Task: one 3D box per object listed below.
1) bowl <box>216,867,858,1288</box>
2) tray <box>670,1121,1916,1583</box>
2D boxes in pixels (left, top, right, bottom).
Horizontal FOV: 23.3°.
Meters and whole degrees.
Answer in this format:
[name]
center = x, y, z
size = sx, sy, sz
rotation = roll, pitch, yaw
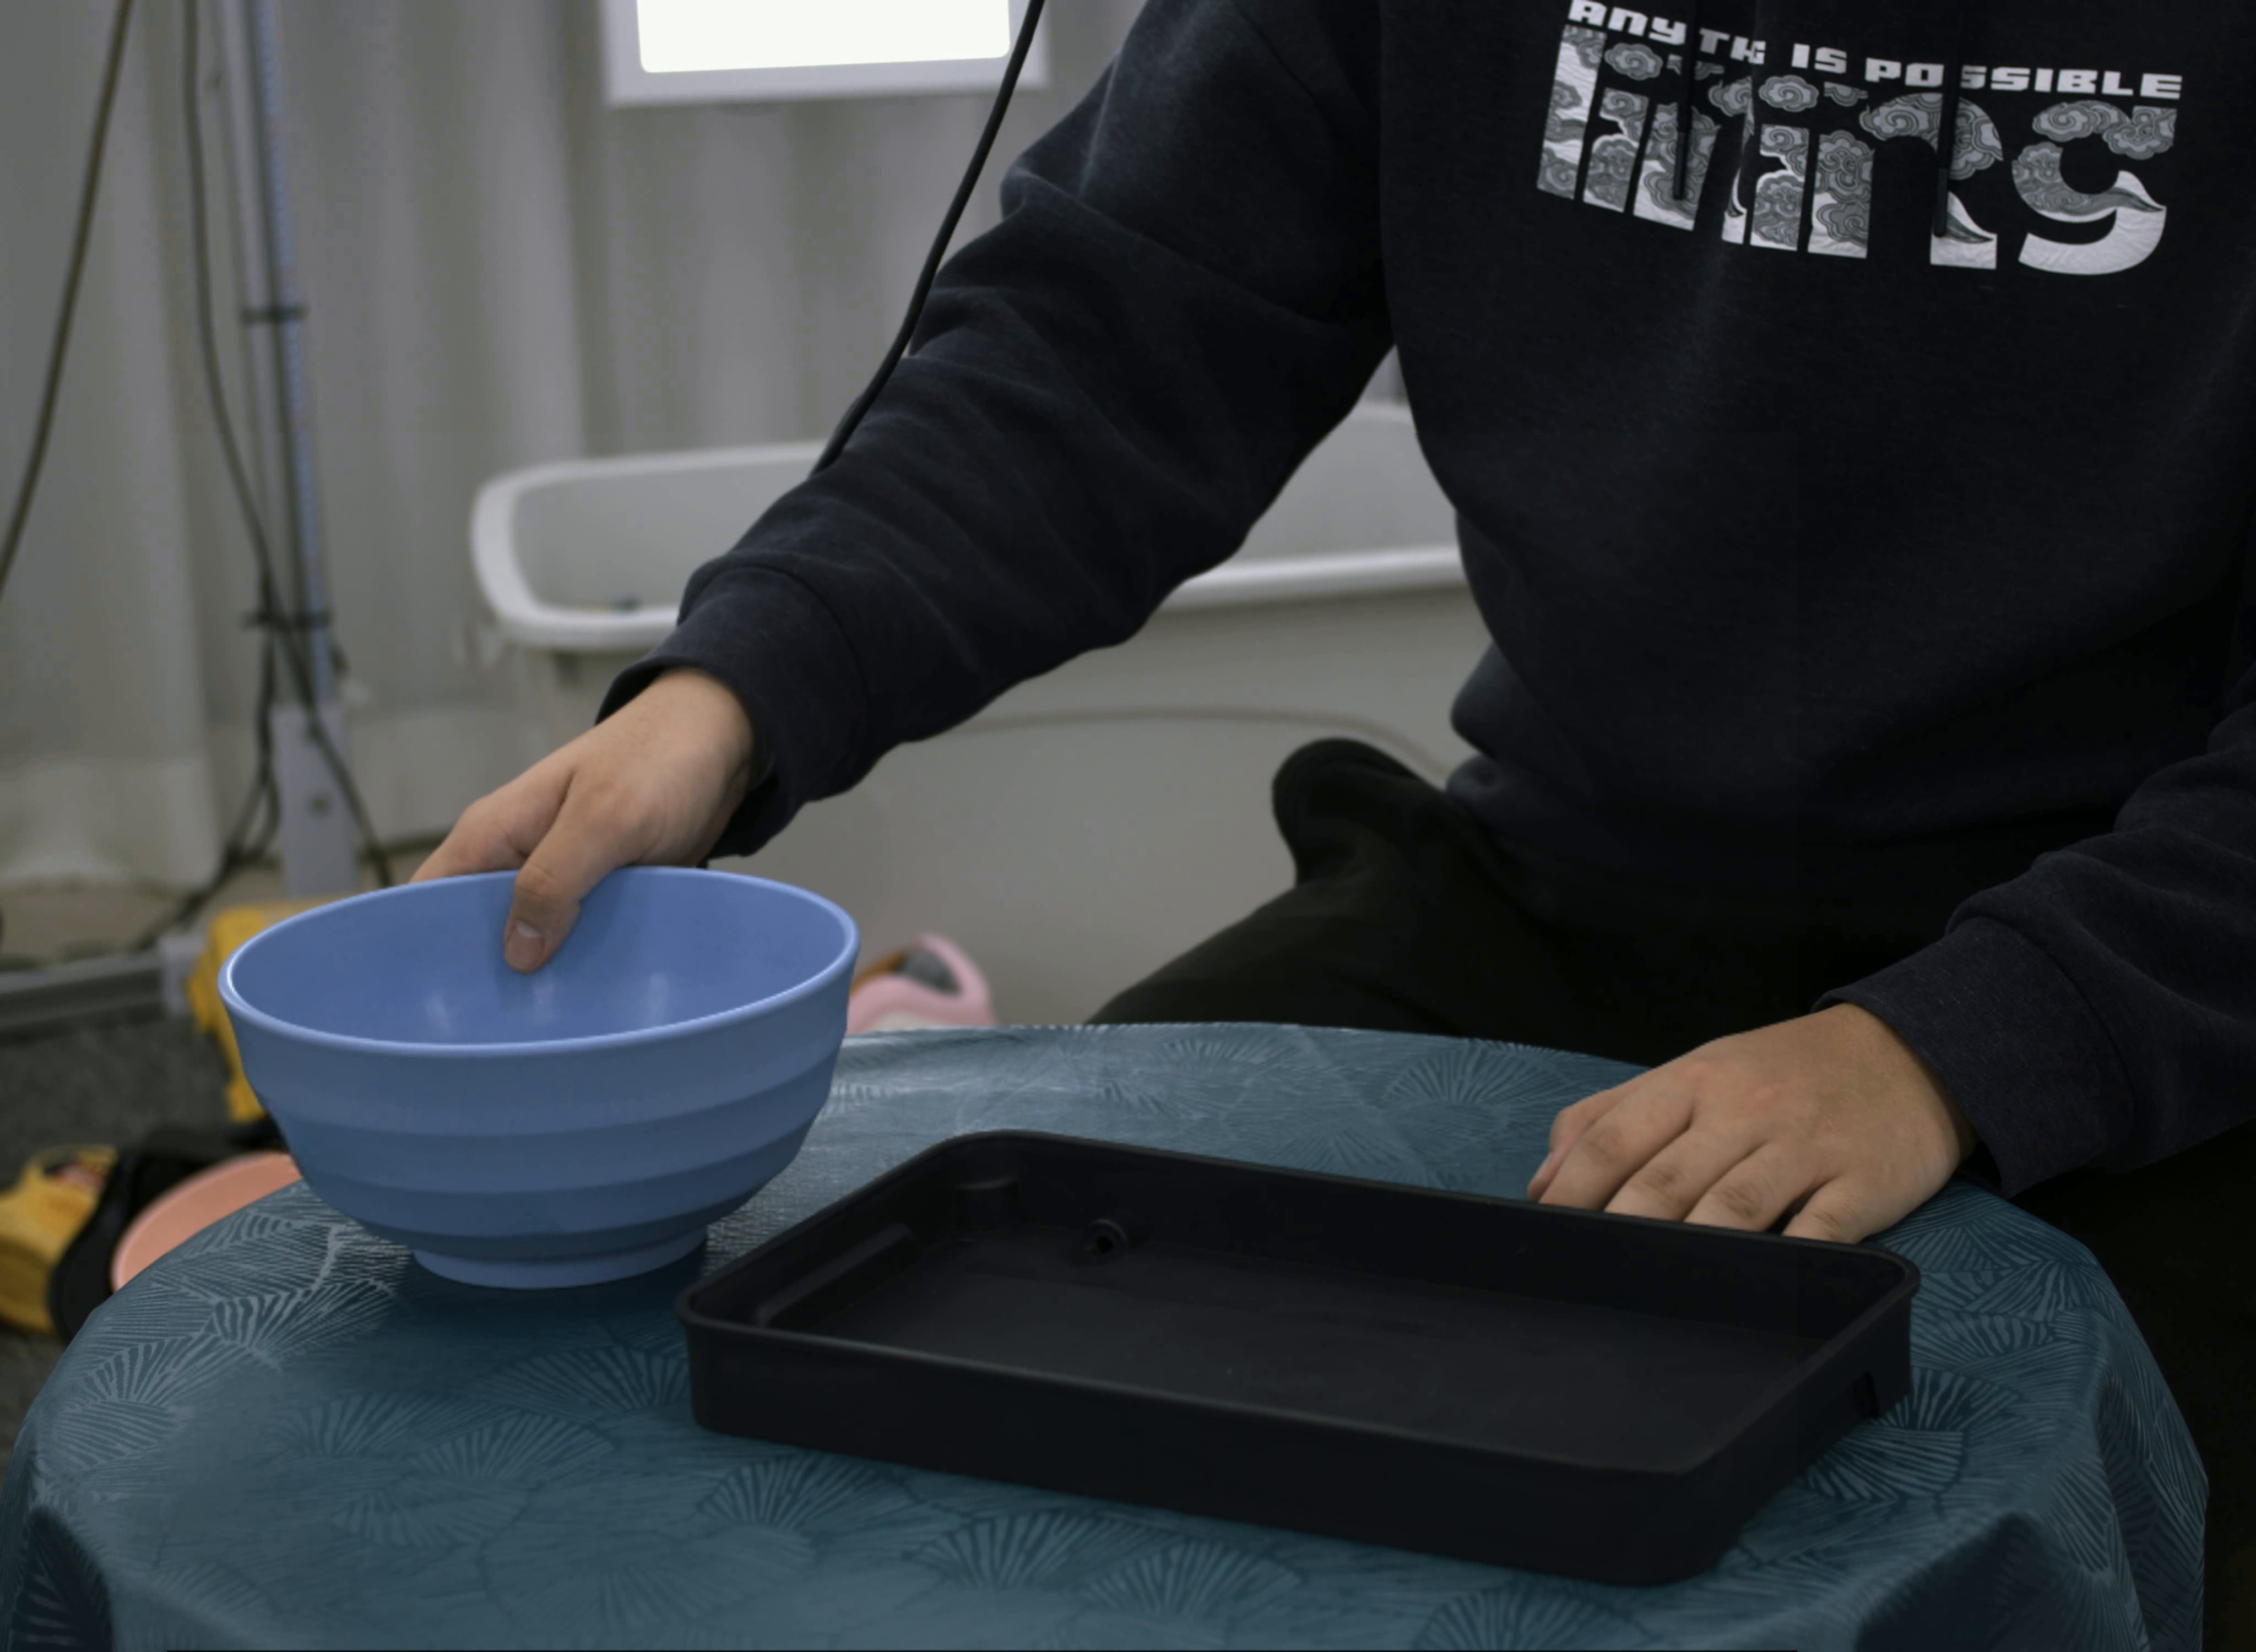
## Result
[bowl]
center = -0.177, 0.083, 1.683
size = 0.196, 0.095, 0.198
rotation = -4, 14, 1
[tray]
center = 0.045, 0.143, 1.531
size = 0.319, 0.037, 0.184
rotation = 6, 17, 29
